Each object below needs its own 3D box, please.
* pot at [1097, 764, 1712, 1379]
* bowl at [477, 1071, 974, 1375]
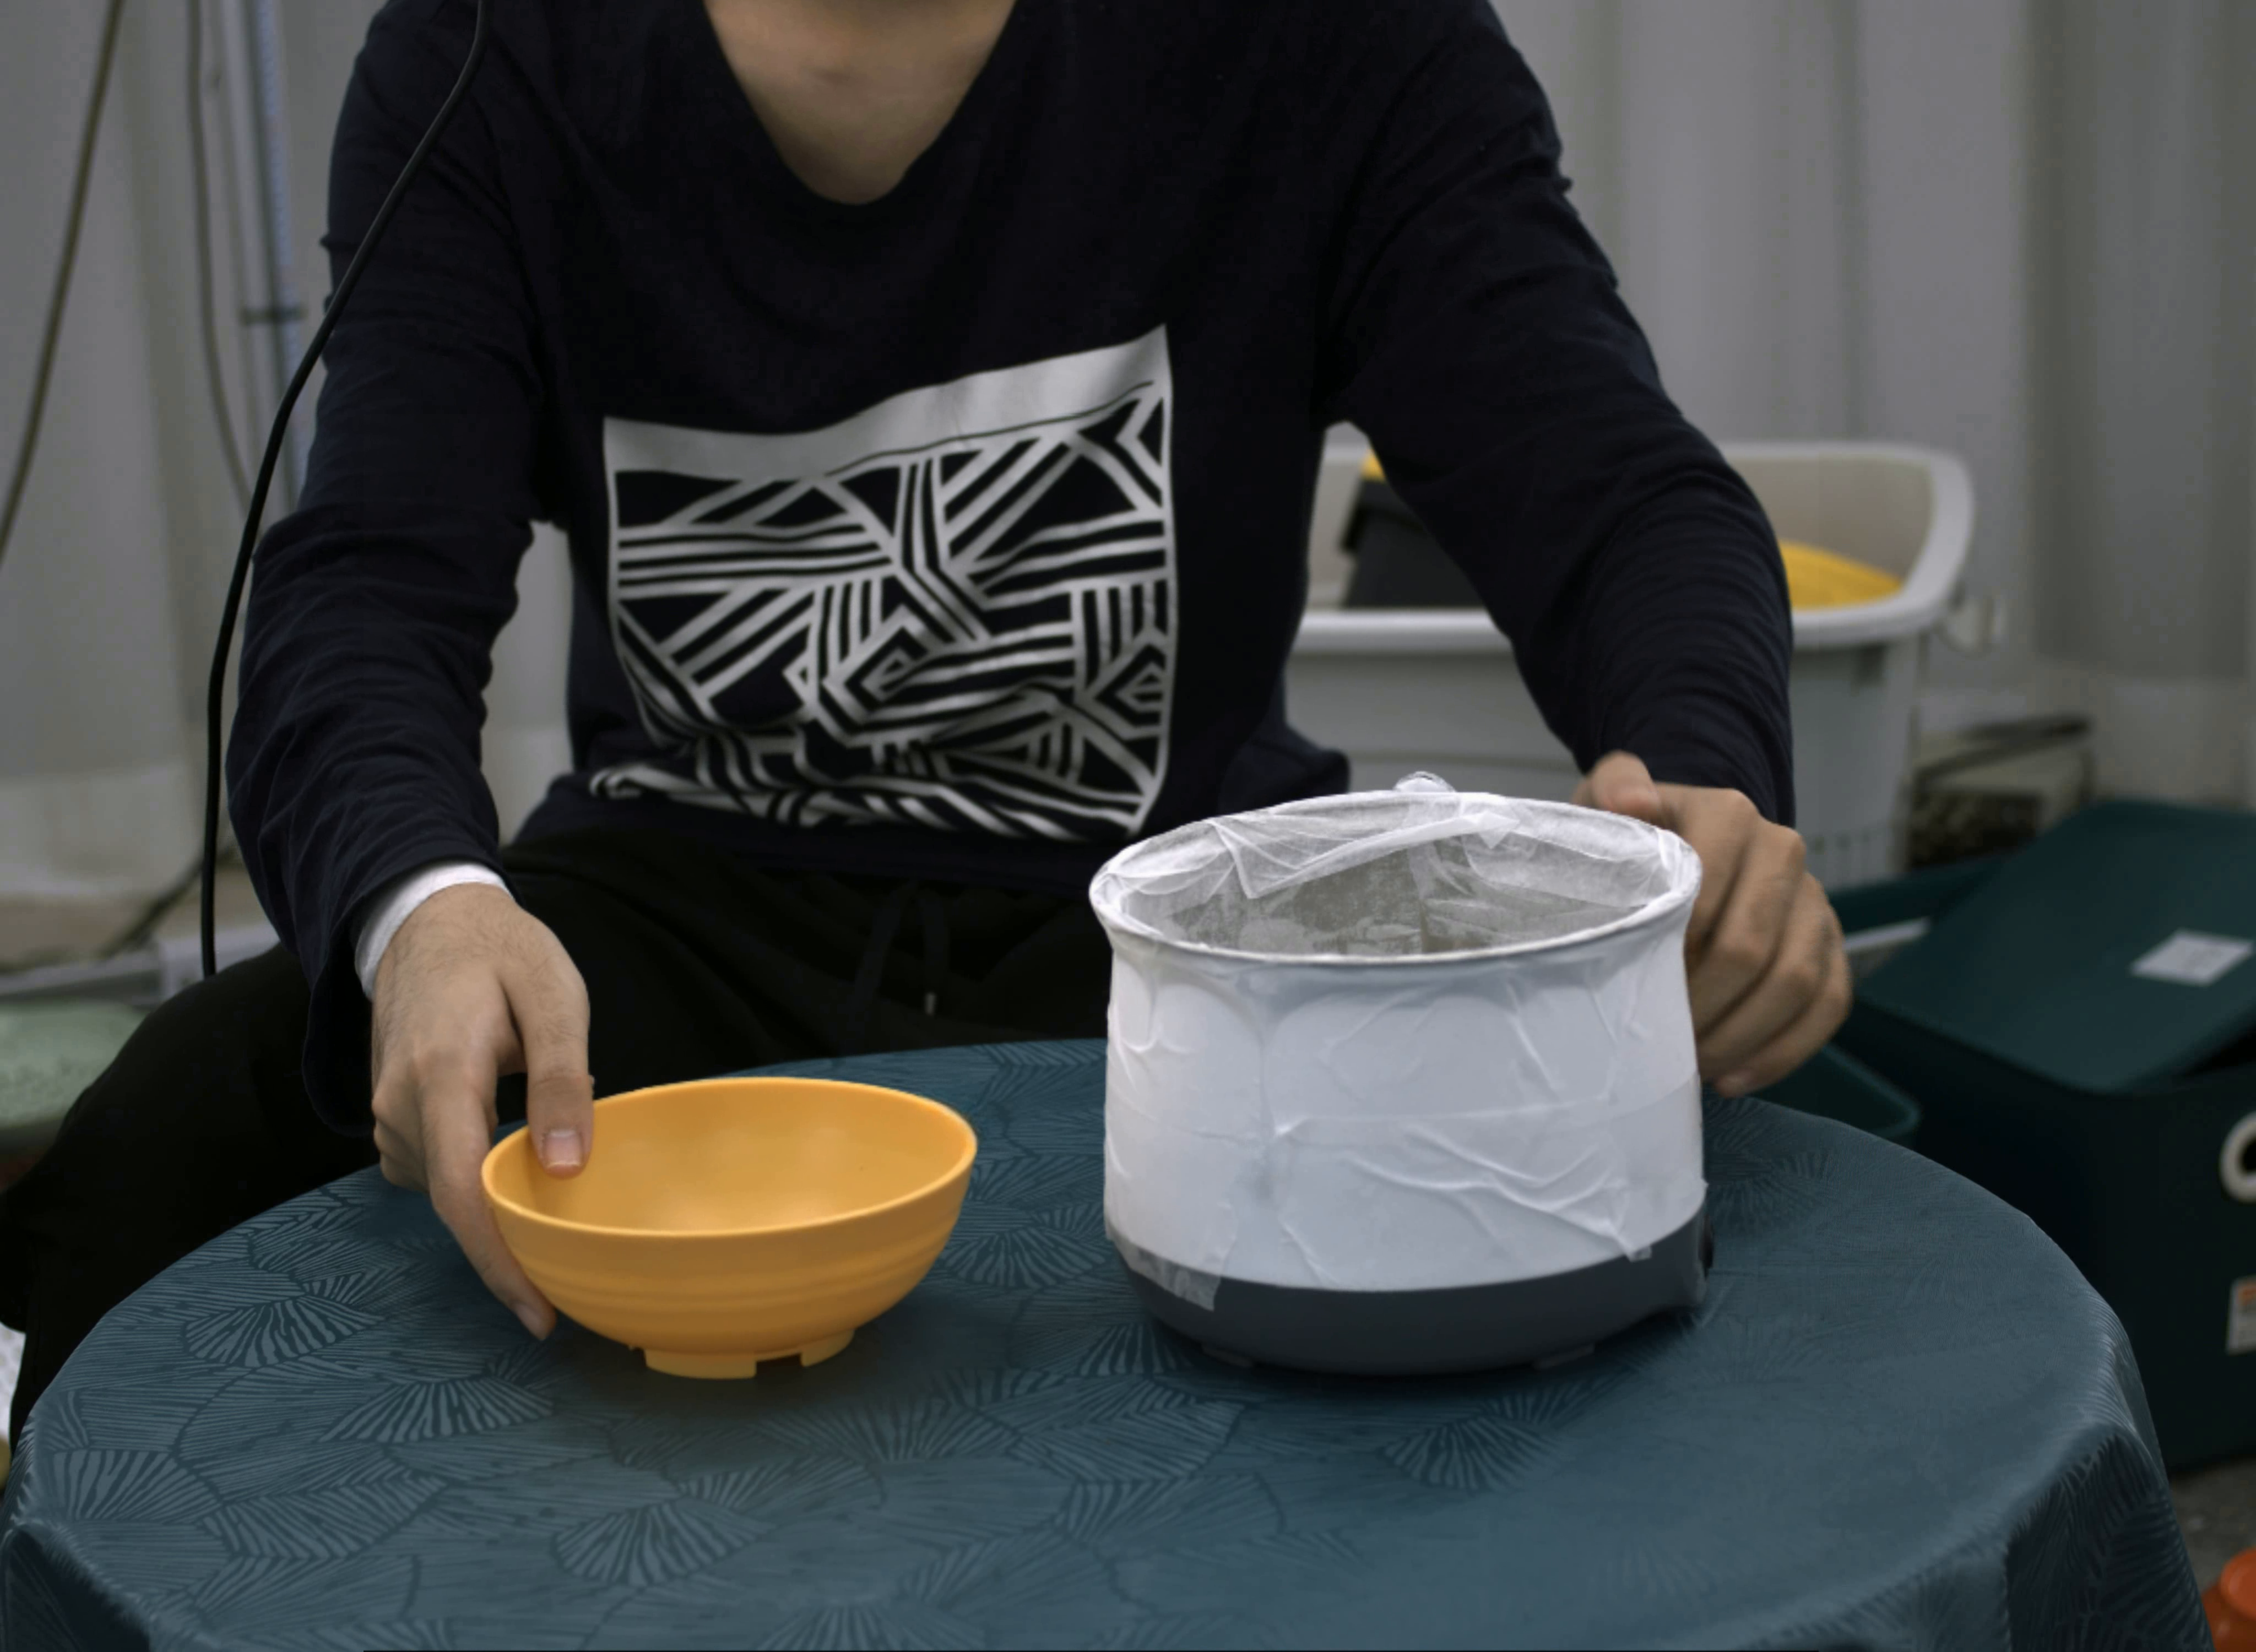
[{"bbox_3d":[0.083,0.067,1.615,0.178,0.136,0.235,1,16,6],"label":"pot"},{"bbox_3d":[-0.116,0.121,1.596,0.145,0.060,0.146,-1,15,0],"label":"bowl"}]
